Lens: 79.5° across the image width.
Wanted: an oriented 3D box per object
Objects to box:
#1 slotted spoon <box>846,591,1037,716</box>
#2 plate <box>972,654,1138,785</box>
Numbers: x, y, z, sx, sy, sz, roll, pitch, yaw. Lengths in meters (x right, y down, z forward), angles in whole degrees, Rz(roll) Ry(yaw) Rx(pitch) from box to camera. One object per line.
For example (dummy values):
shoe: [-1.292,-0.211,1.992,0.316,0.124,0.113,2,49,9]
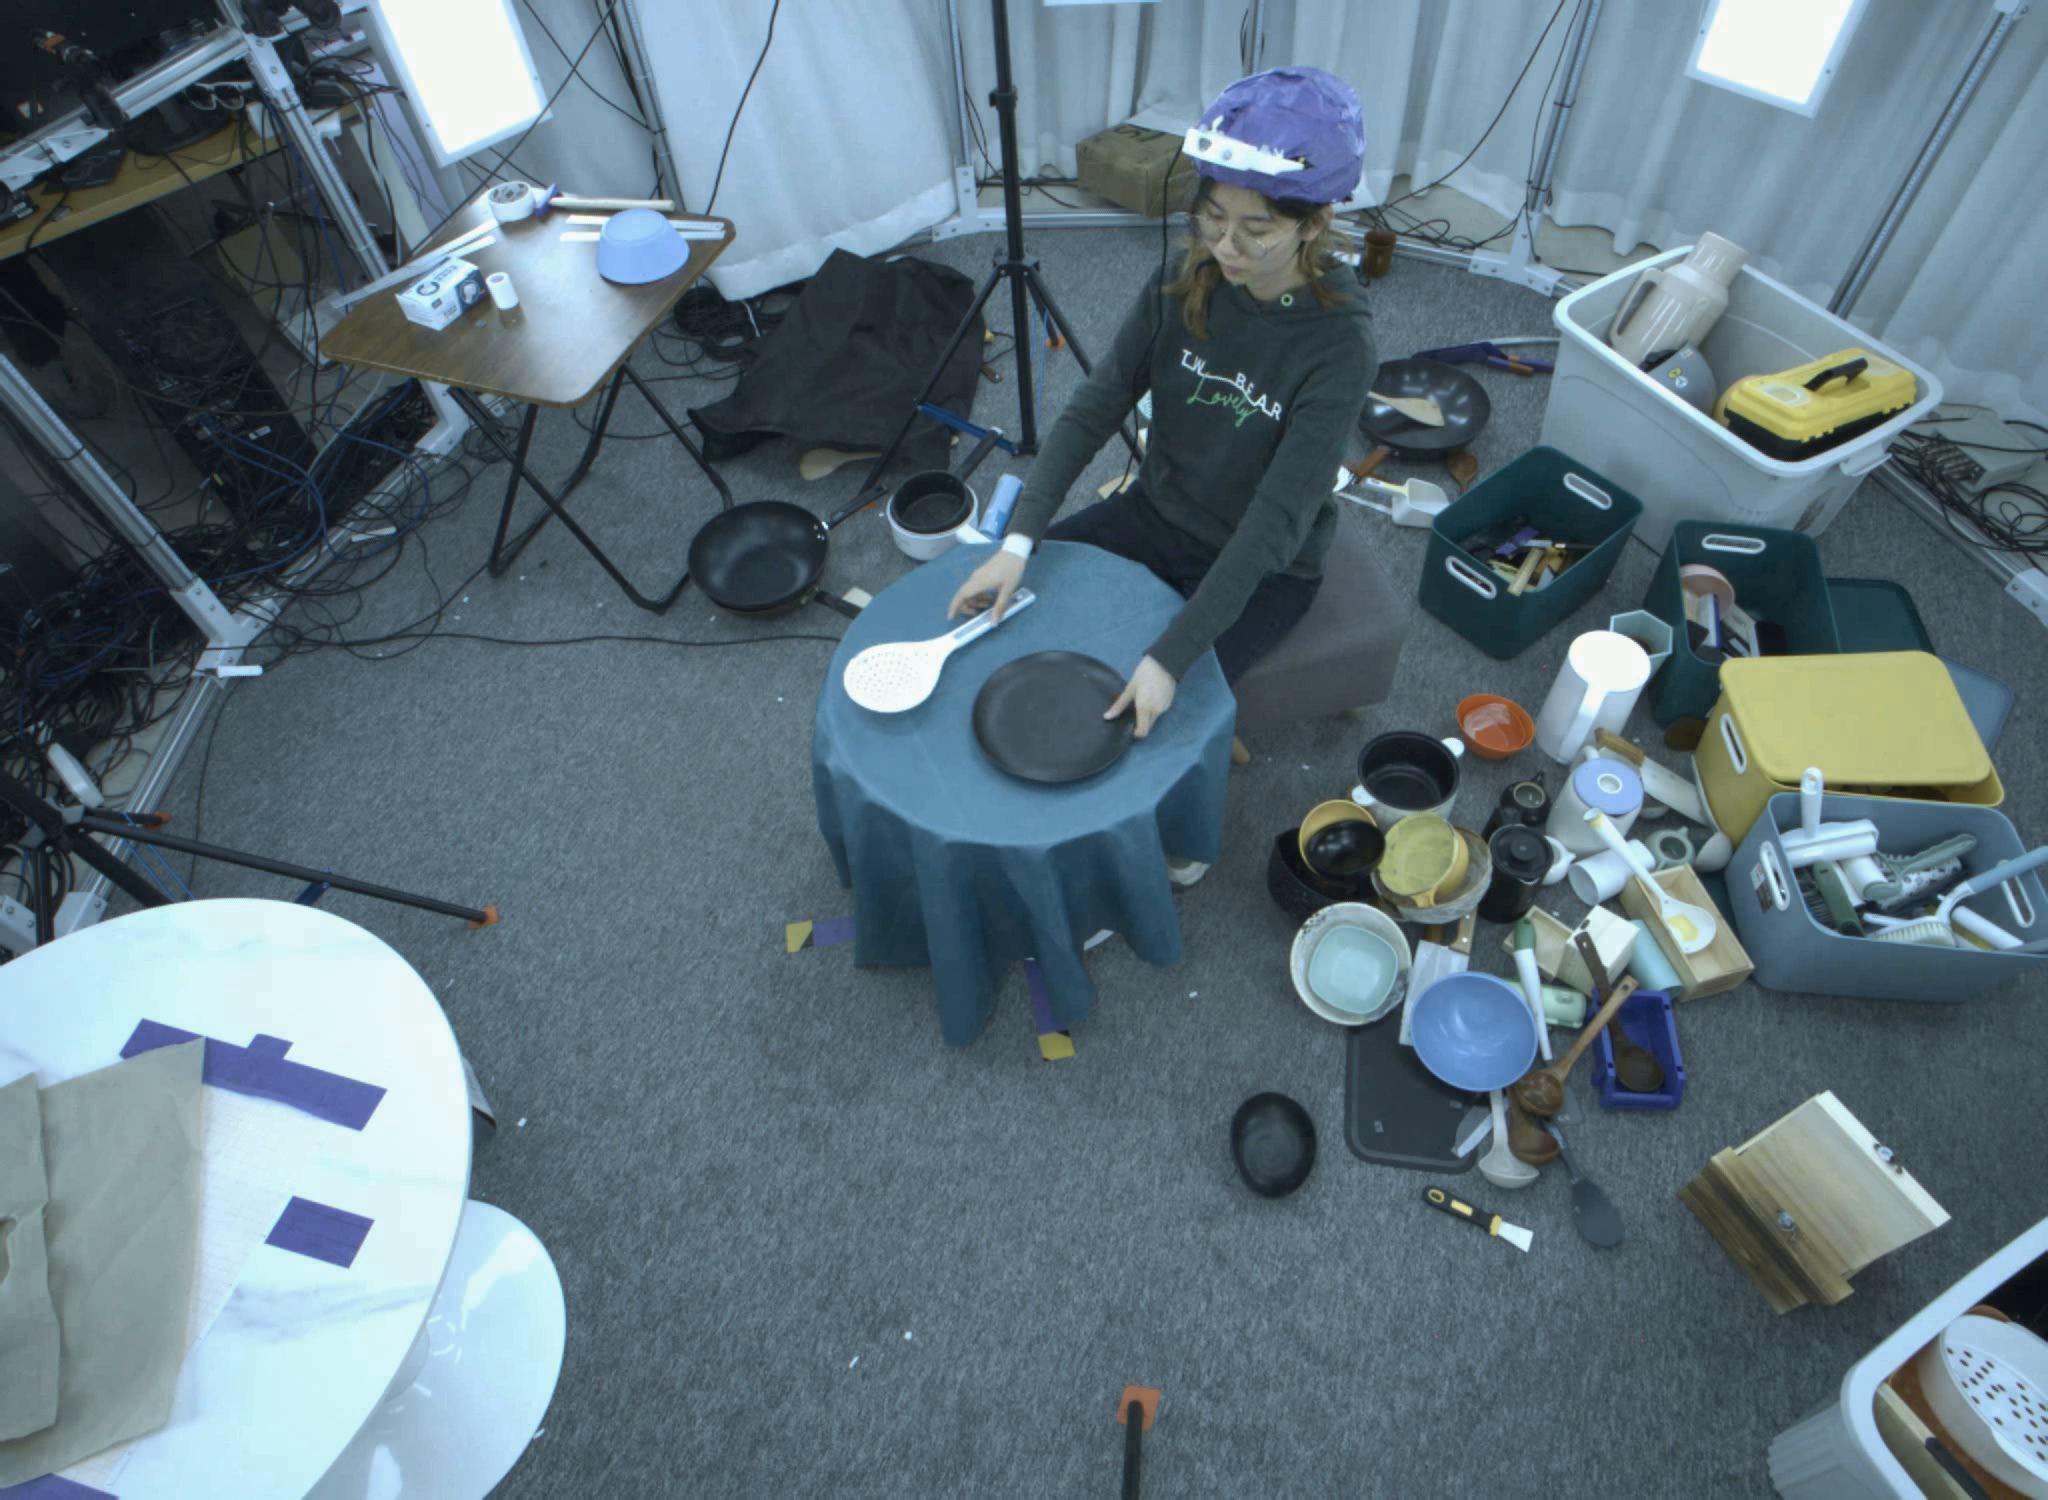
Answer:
slotted spoon: [-0.118,-0.156,1.883,0.352,0.046,0.134,-37,63,-23]
plate: [0.045,-0.043,1.813,0.244,0.023,0.242,0,55,2]
